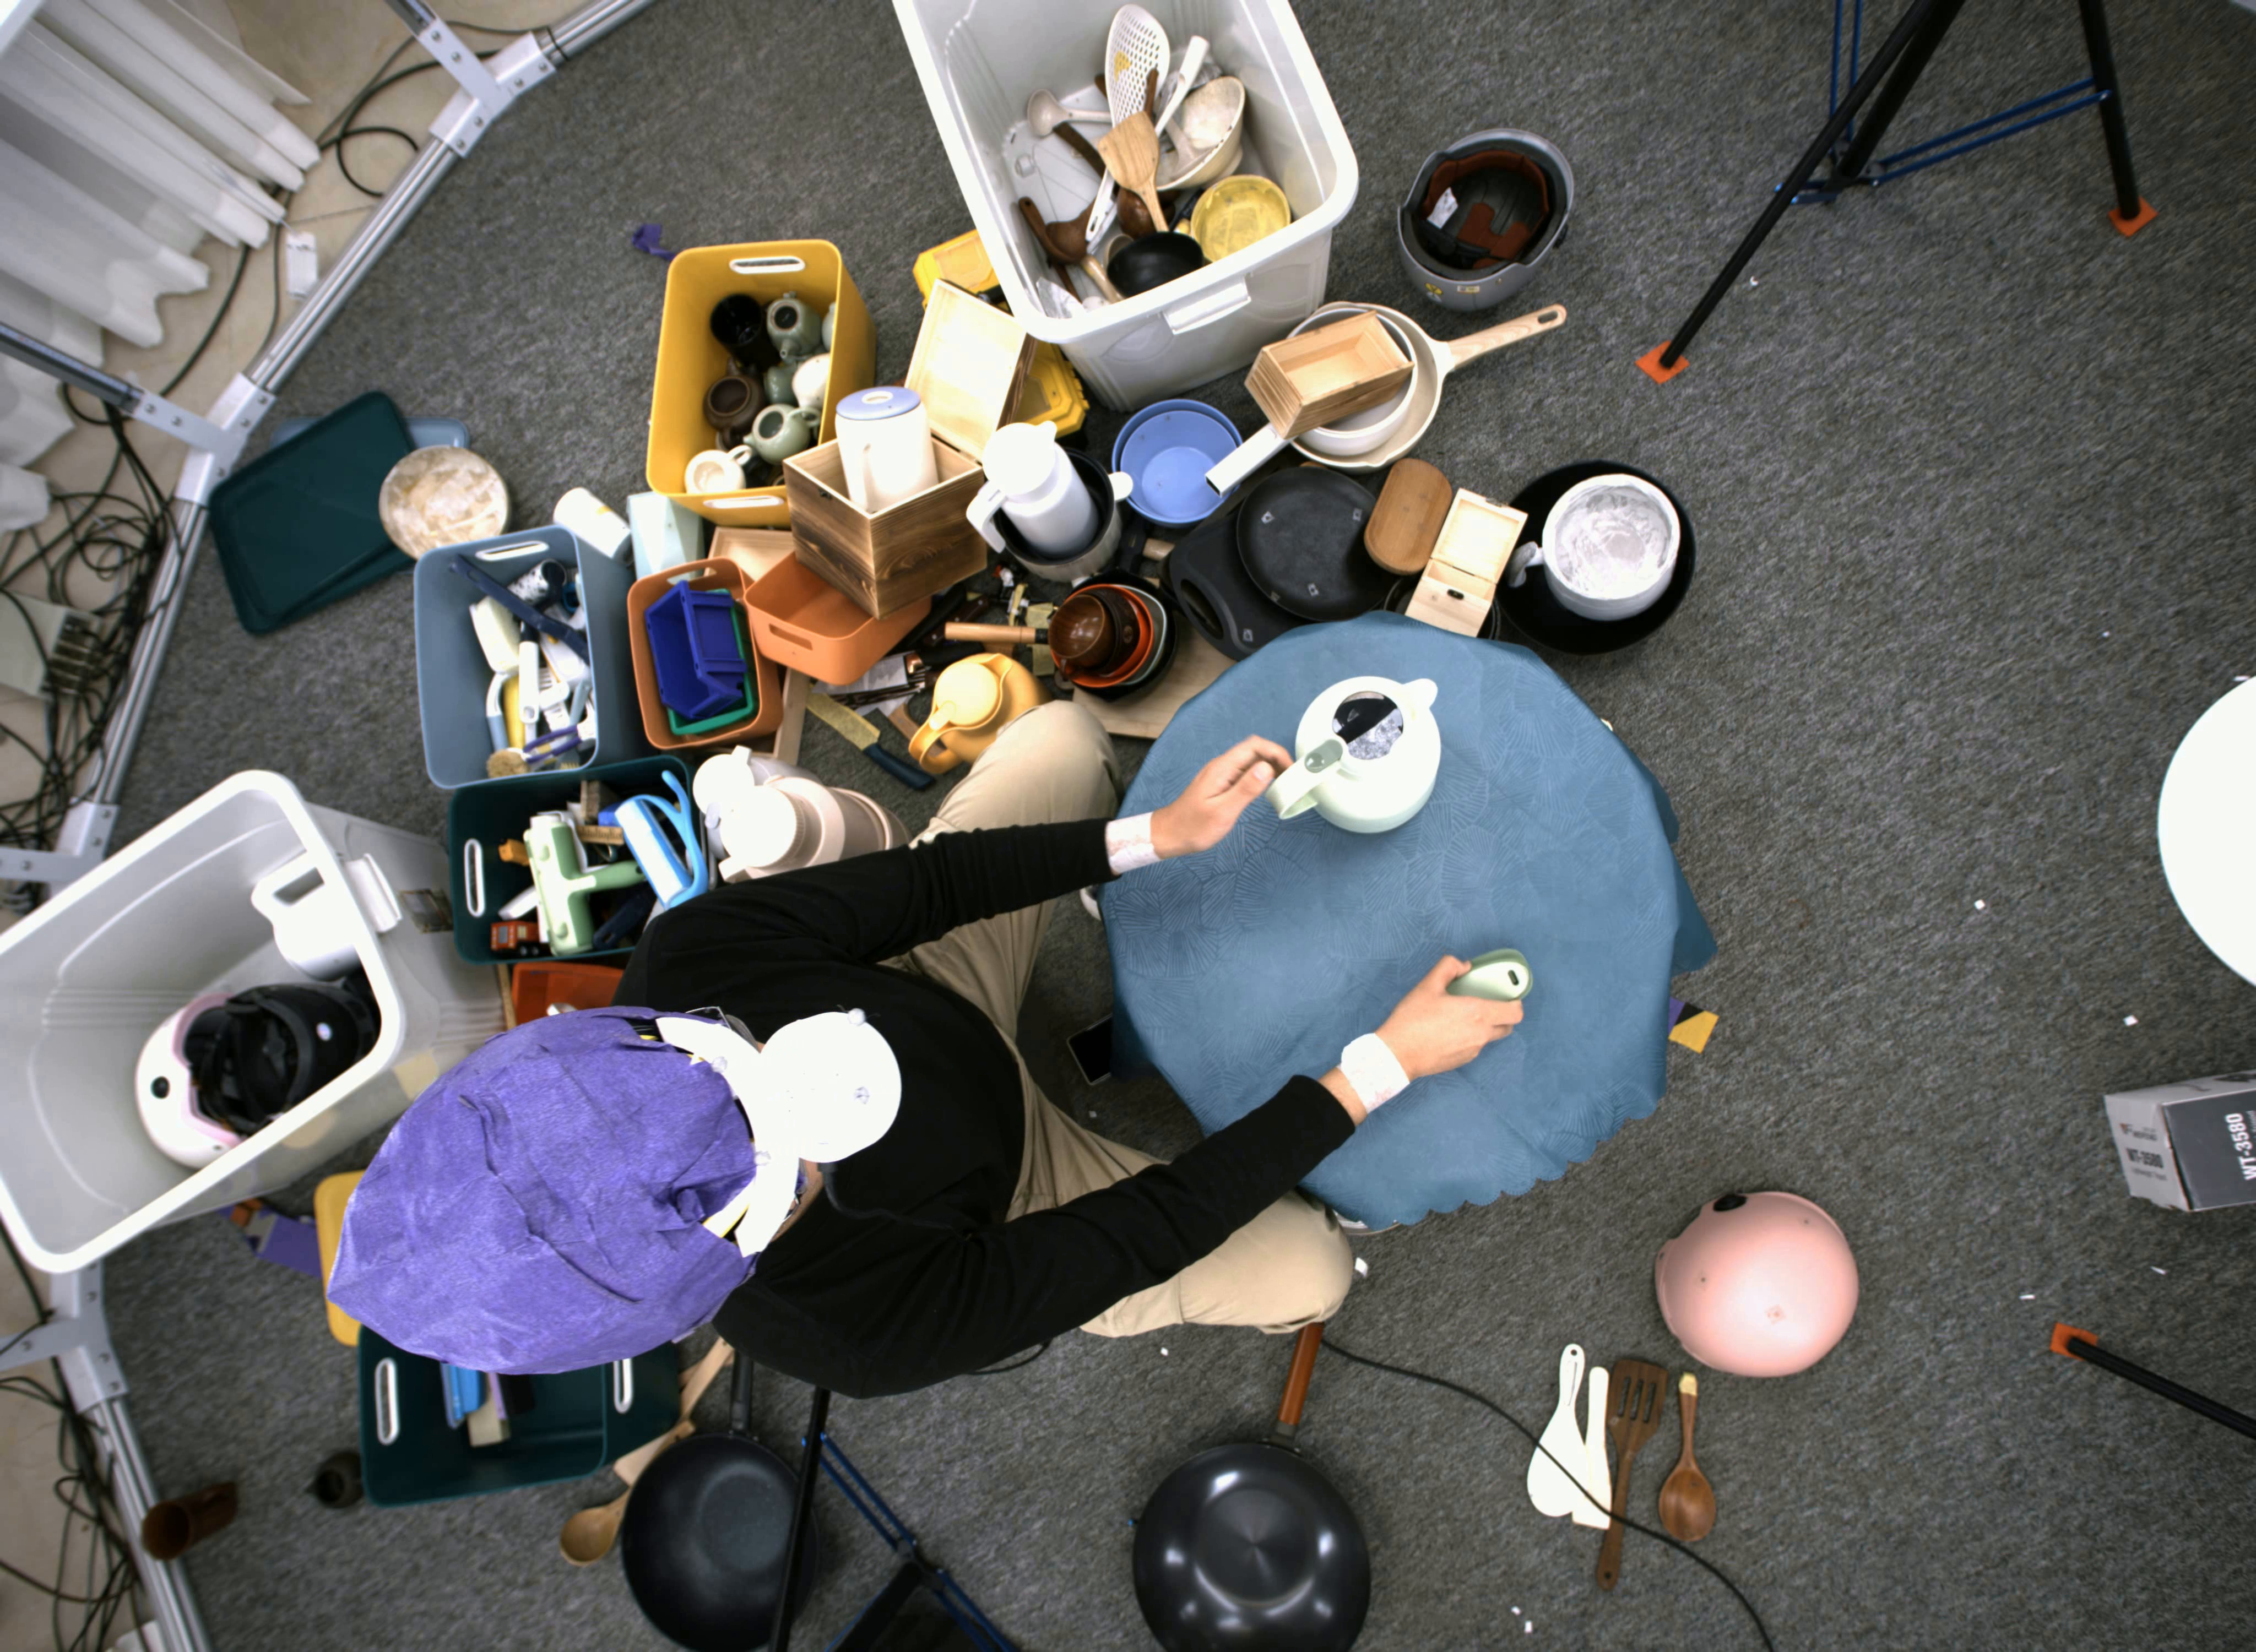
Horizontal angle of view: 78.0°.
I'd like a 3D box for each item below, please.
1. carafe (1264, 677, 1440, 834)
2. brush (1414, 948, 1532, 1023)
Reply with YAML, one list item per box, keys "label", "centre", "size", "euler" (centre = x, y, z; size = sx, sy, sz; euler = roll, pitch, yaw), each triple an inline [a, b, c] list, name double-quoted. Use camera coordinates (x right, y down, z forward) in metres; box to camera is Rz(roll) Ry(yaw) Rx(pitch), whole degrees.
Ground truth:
- label: "carafe"
  centre: [0.221, -0.068, 1.346]
  size: [0.188, 0.257, 0.143]
  euler: [-35, 80, 8]
- label: "brush"
  centre: [0.351, 0.160, 1.397]
  size: [0.125, 0.075, 0.059]
  euler: [-23, 85, 30]
